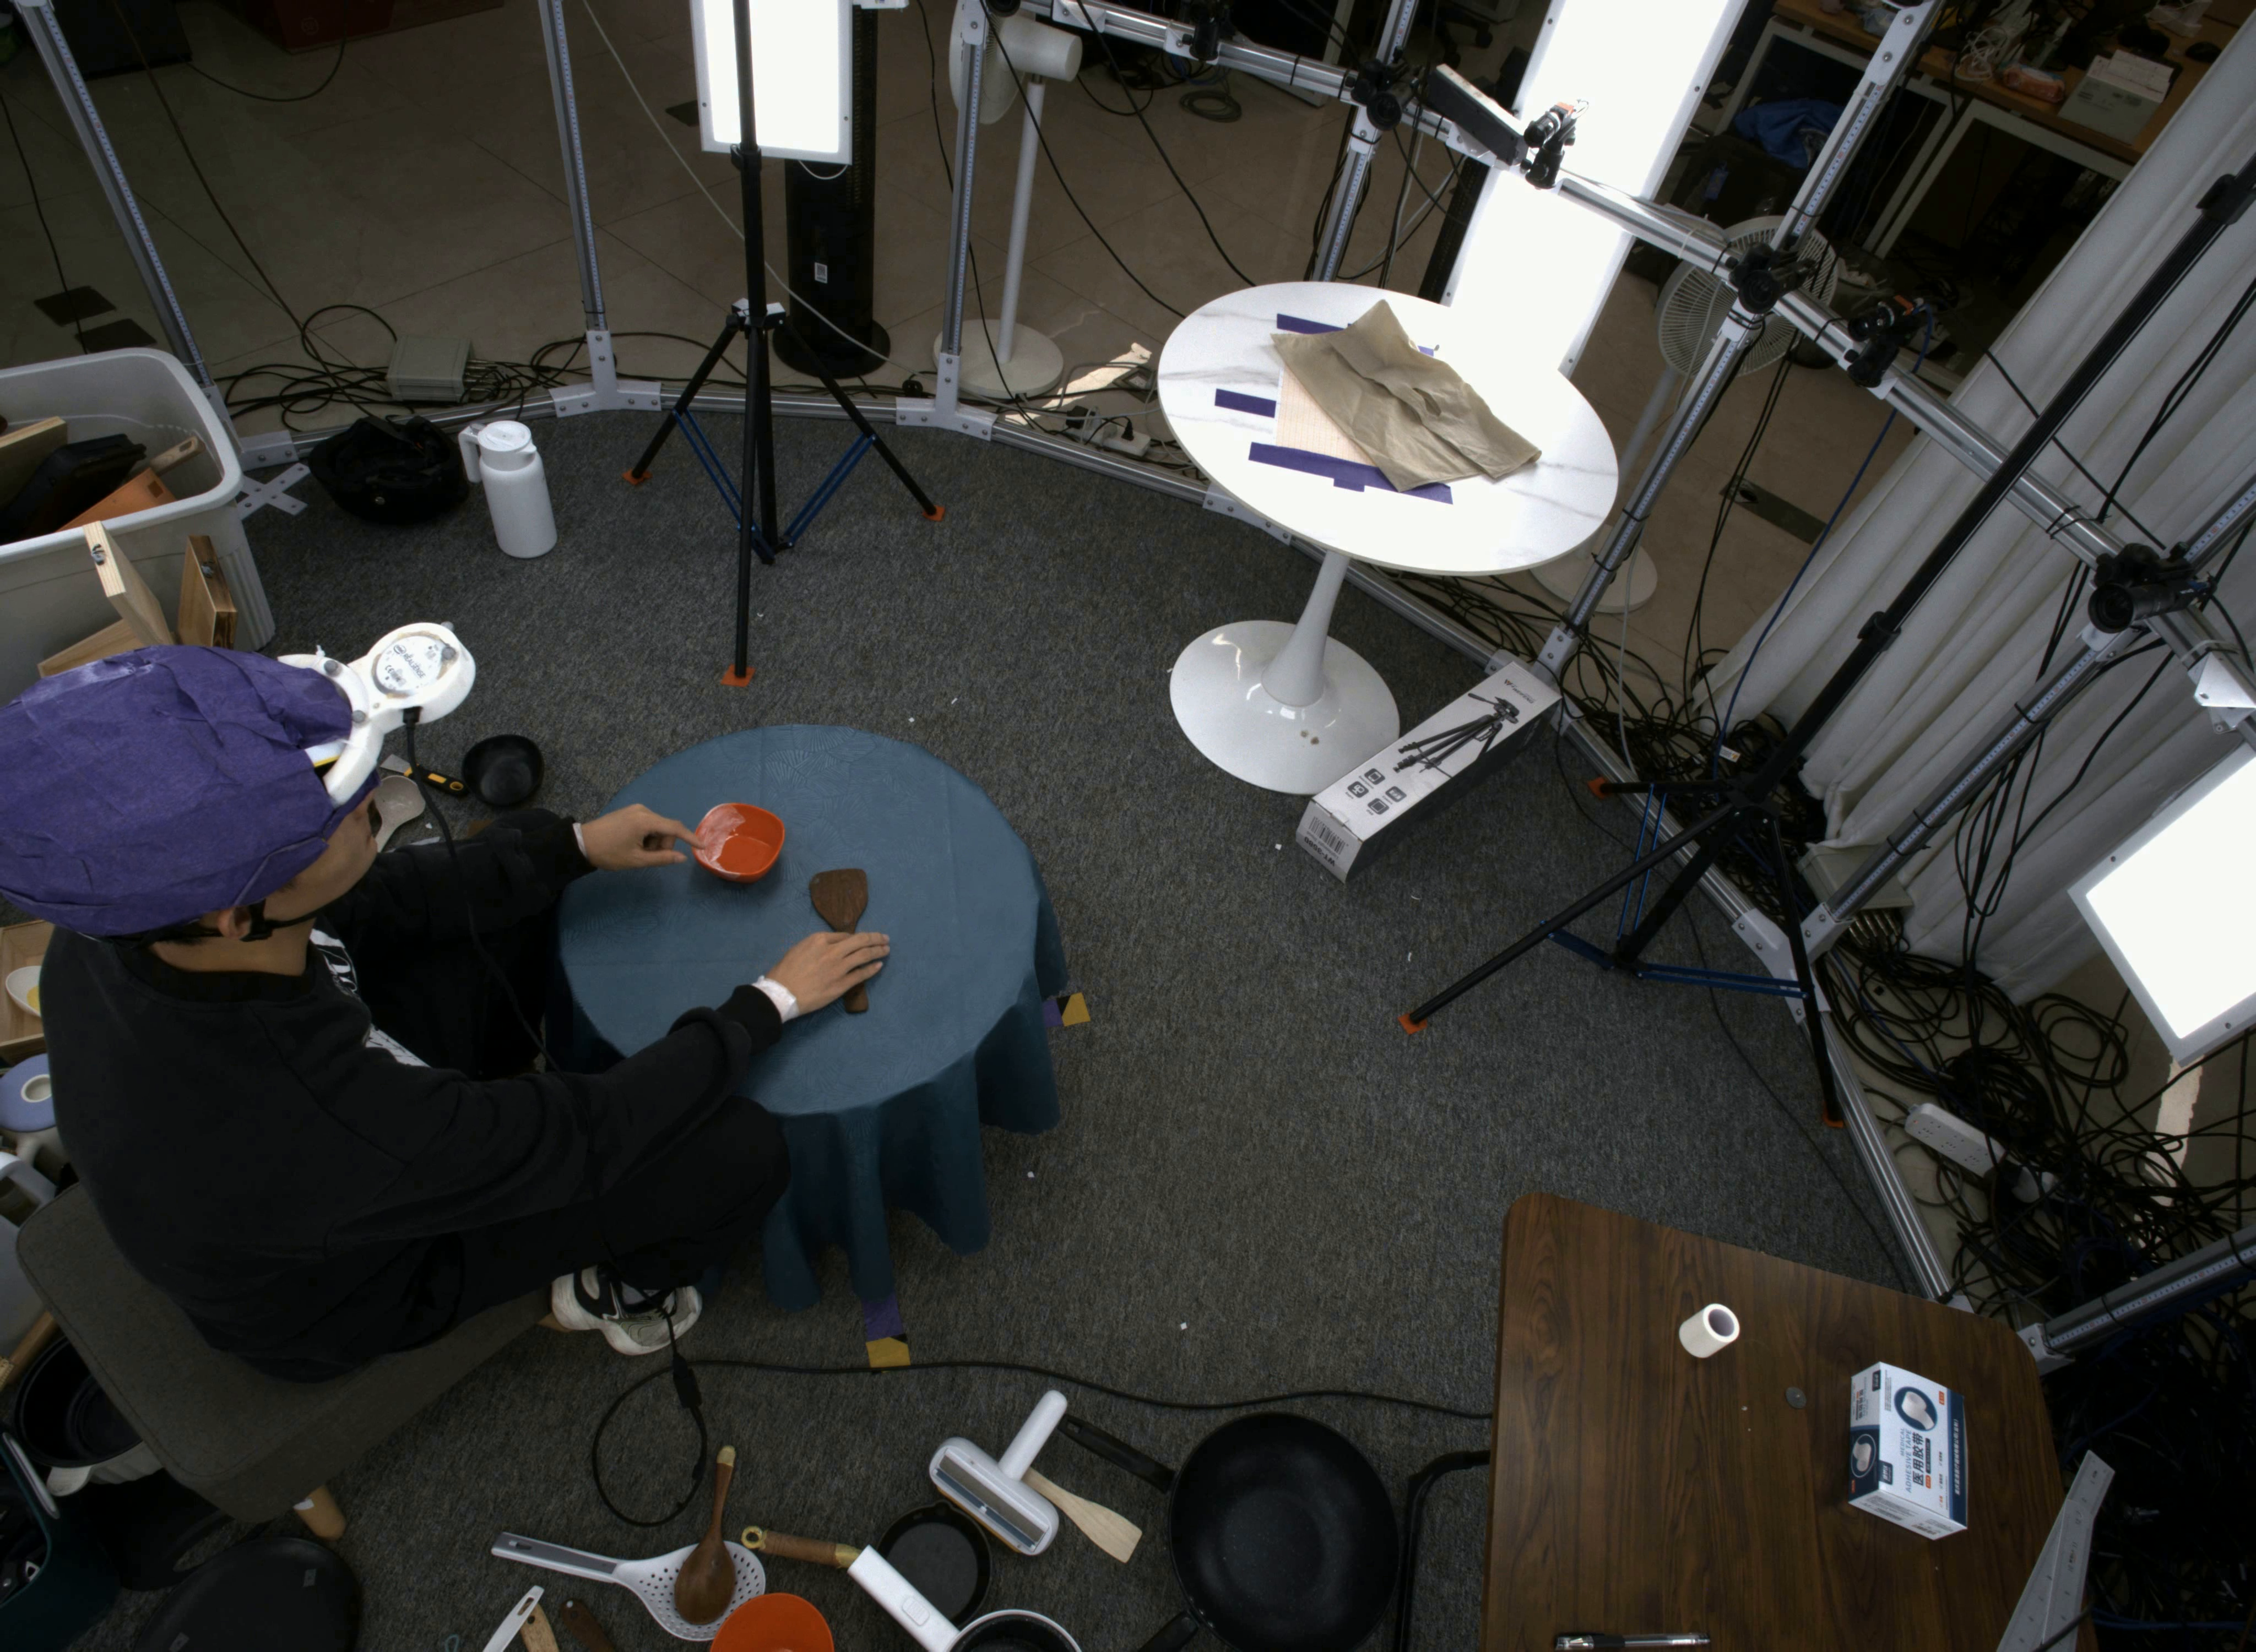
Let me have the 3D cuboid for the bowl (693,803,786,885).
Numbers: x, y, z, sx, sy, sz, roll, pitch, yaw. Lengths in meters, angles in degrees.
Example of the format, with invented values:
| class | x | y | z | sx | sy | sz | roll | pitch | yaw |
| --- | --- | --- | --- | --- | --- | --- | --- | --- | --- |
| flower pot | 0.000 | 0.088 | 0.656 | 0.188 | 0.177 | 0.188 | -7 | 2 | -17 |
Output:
| class | x | y | z | sx | sy | sz | roll | pitch | yaw |
| --- | --- | --- | --- | --- | --- | --- | --- | --- | --- |
| bowl | -0.497 | 0.030 | 1.656 | 0.119 | 0.052 | 0.117 | 9 | 51 | -10 |

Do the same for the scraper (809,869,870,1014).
| class | x | y | z | sx | sy | sz | roll | pitch | yaw |
| --- | --- | --- | --- | --- | --- | --- | --- | --- | --- |
| scraper | -0.353 | 0.142 | 1.636 | 0.076 | 0.011 | 0.206 | -6 | 56 | -17 |
